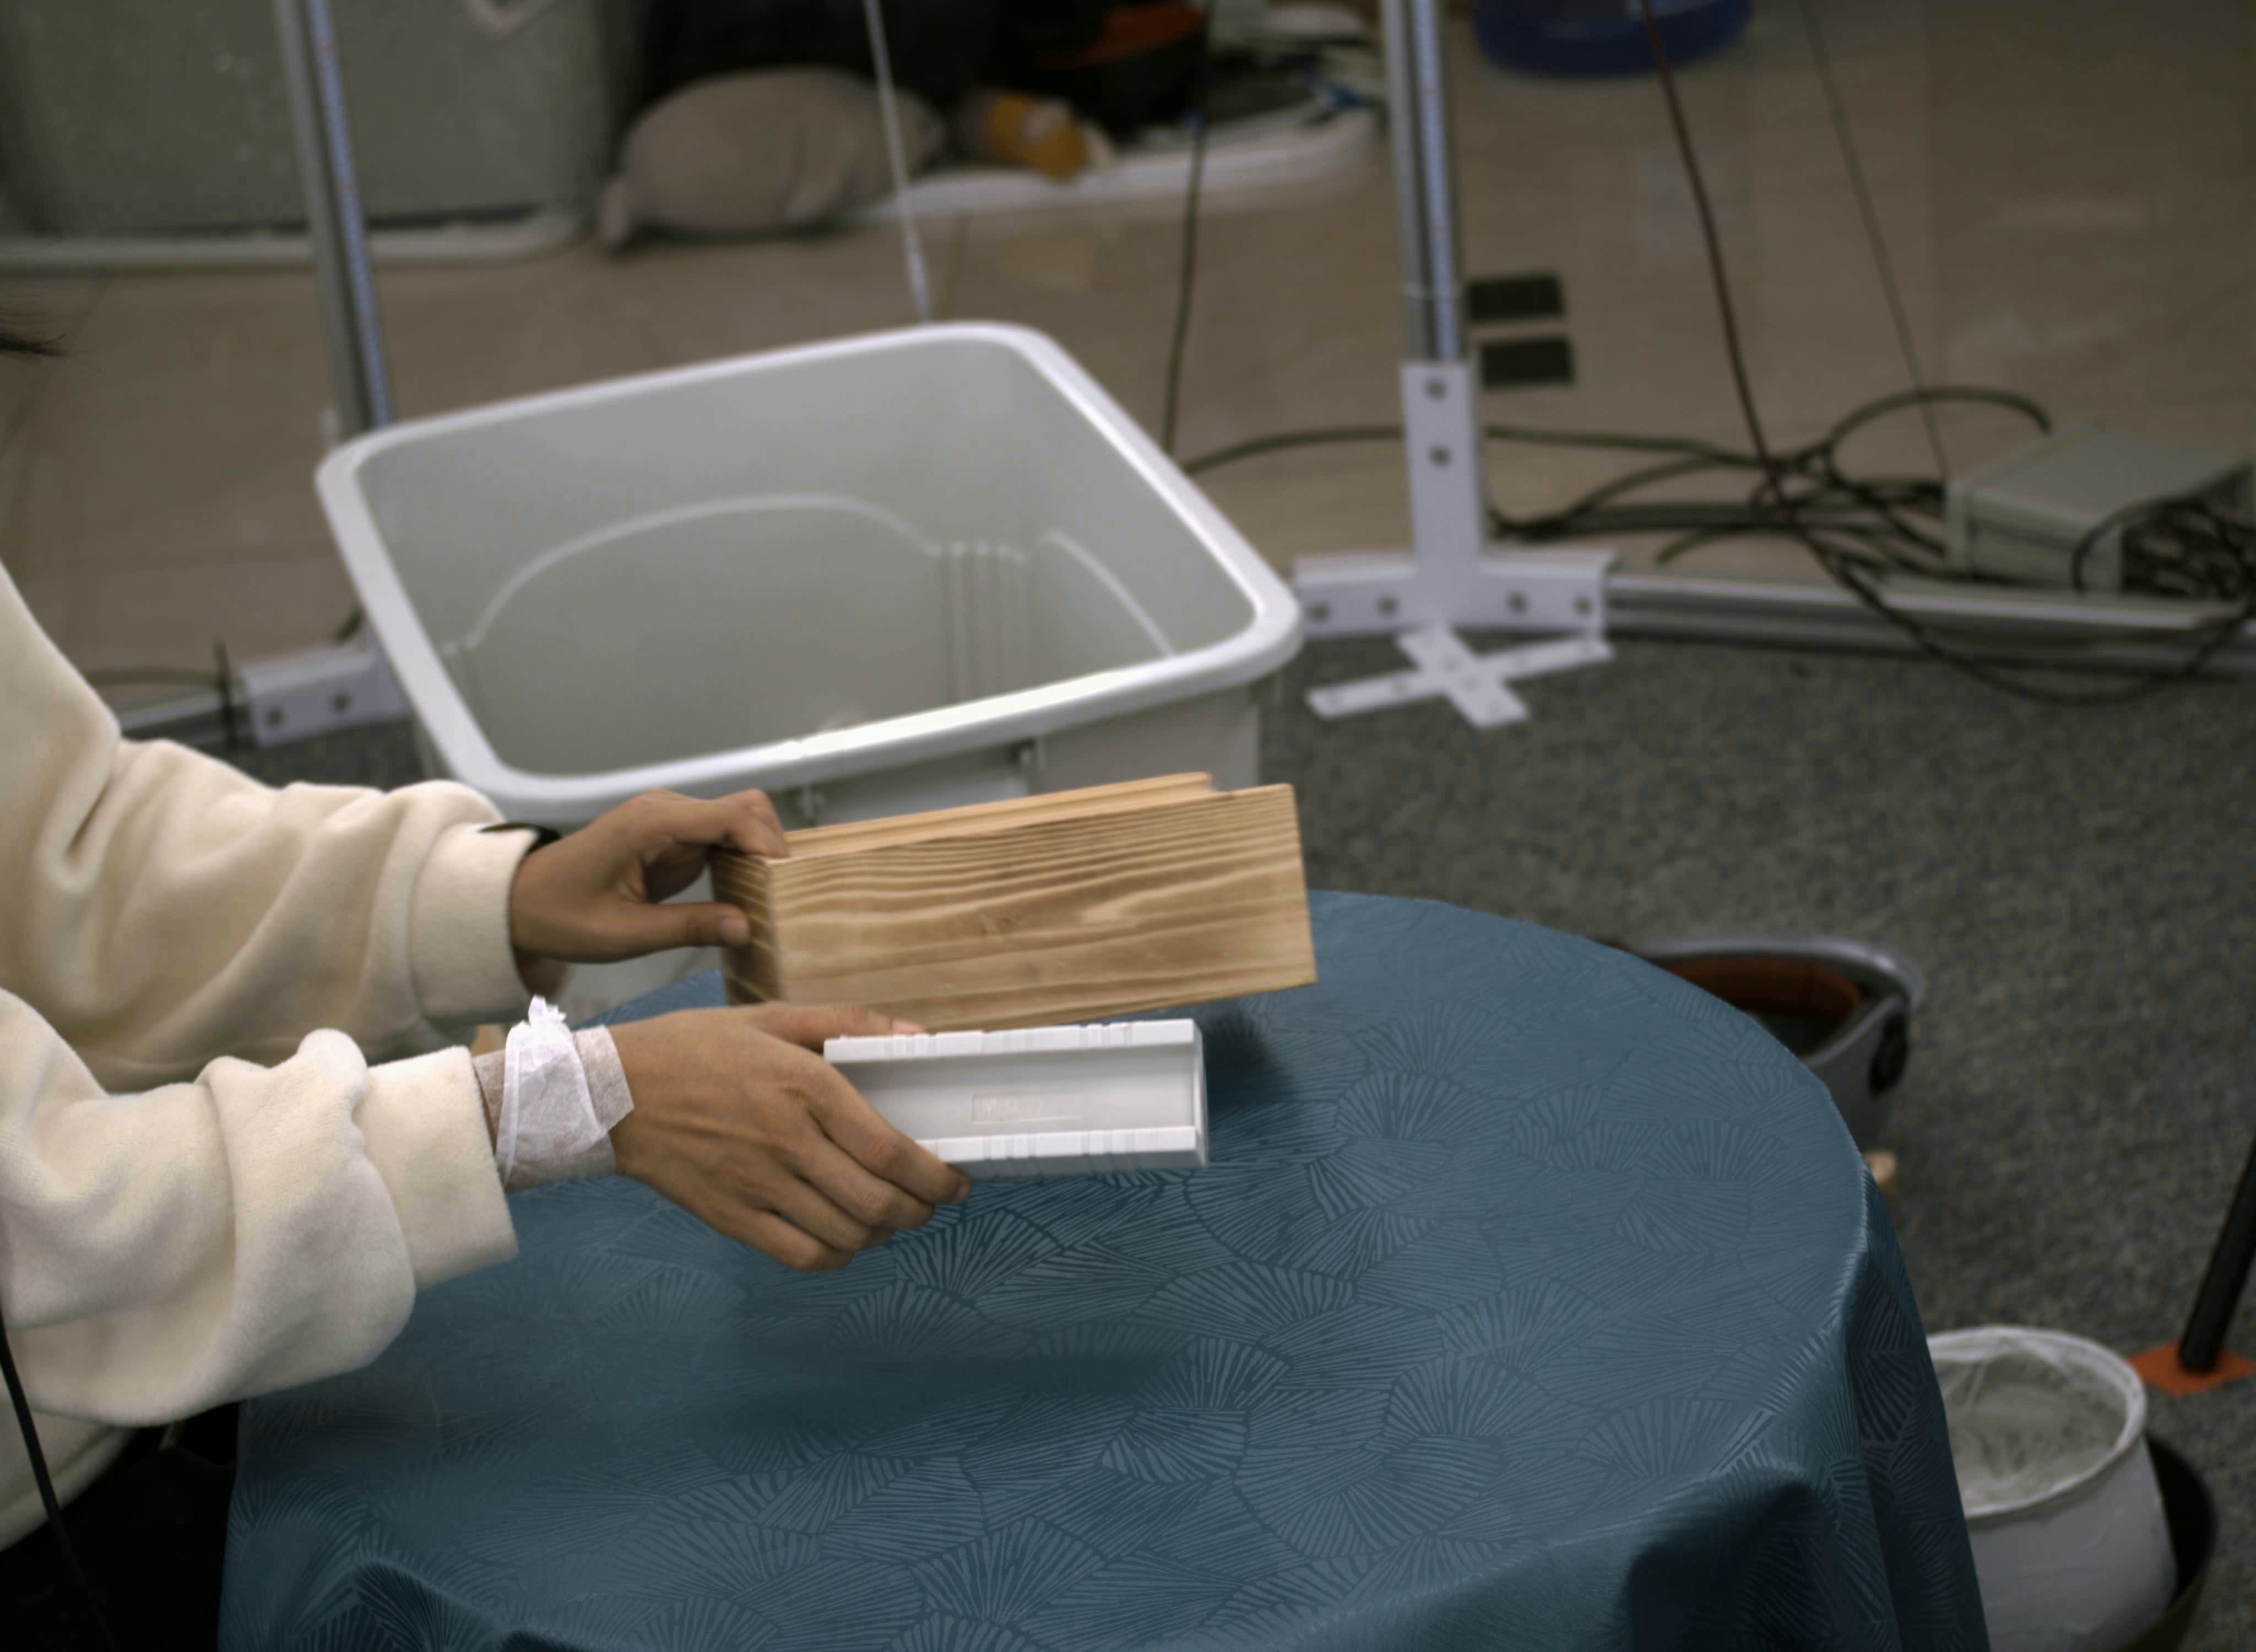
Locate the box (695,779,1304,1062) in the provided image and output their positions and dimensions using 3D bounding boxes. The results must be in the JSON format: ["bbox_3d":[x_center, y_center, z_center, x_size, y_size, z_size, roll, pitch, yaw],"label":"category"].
[{"bbox_3d":[-0.051,0.035,2.205,0.211,0.080,0.107,-8,5,-17],"label":"box"}]

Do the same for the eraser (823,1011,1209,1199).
[{"bbox_3d":[-0.039,0.101,2.025,0.134,0.049,0.047,-6,-14,6],"label":"eraser"}]
